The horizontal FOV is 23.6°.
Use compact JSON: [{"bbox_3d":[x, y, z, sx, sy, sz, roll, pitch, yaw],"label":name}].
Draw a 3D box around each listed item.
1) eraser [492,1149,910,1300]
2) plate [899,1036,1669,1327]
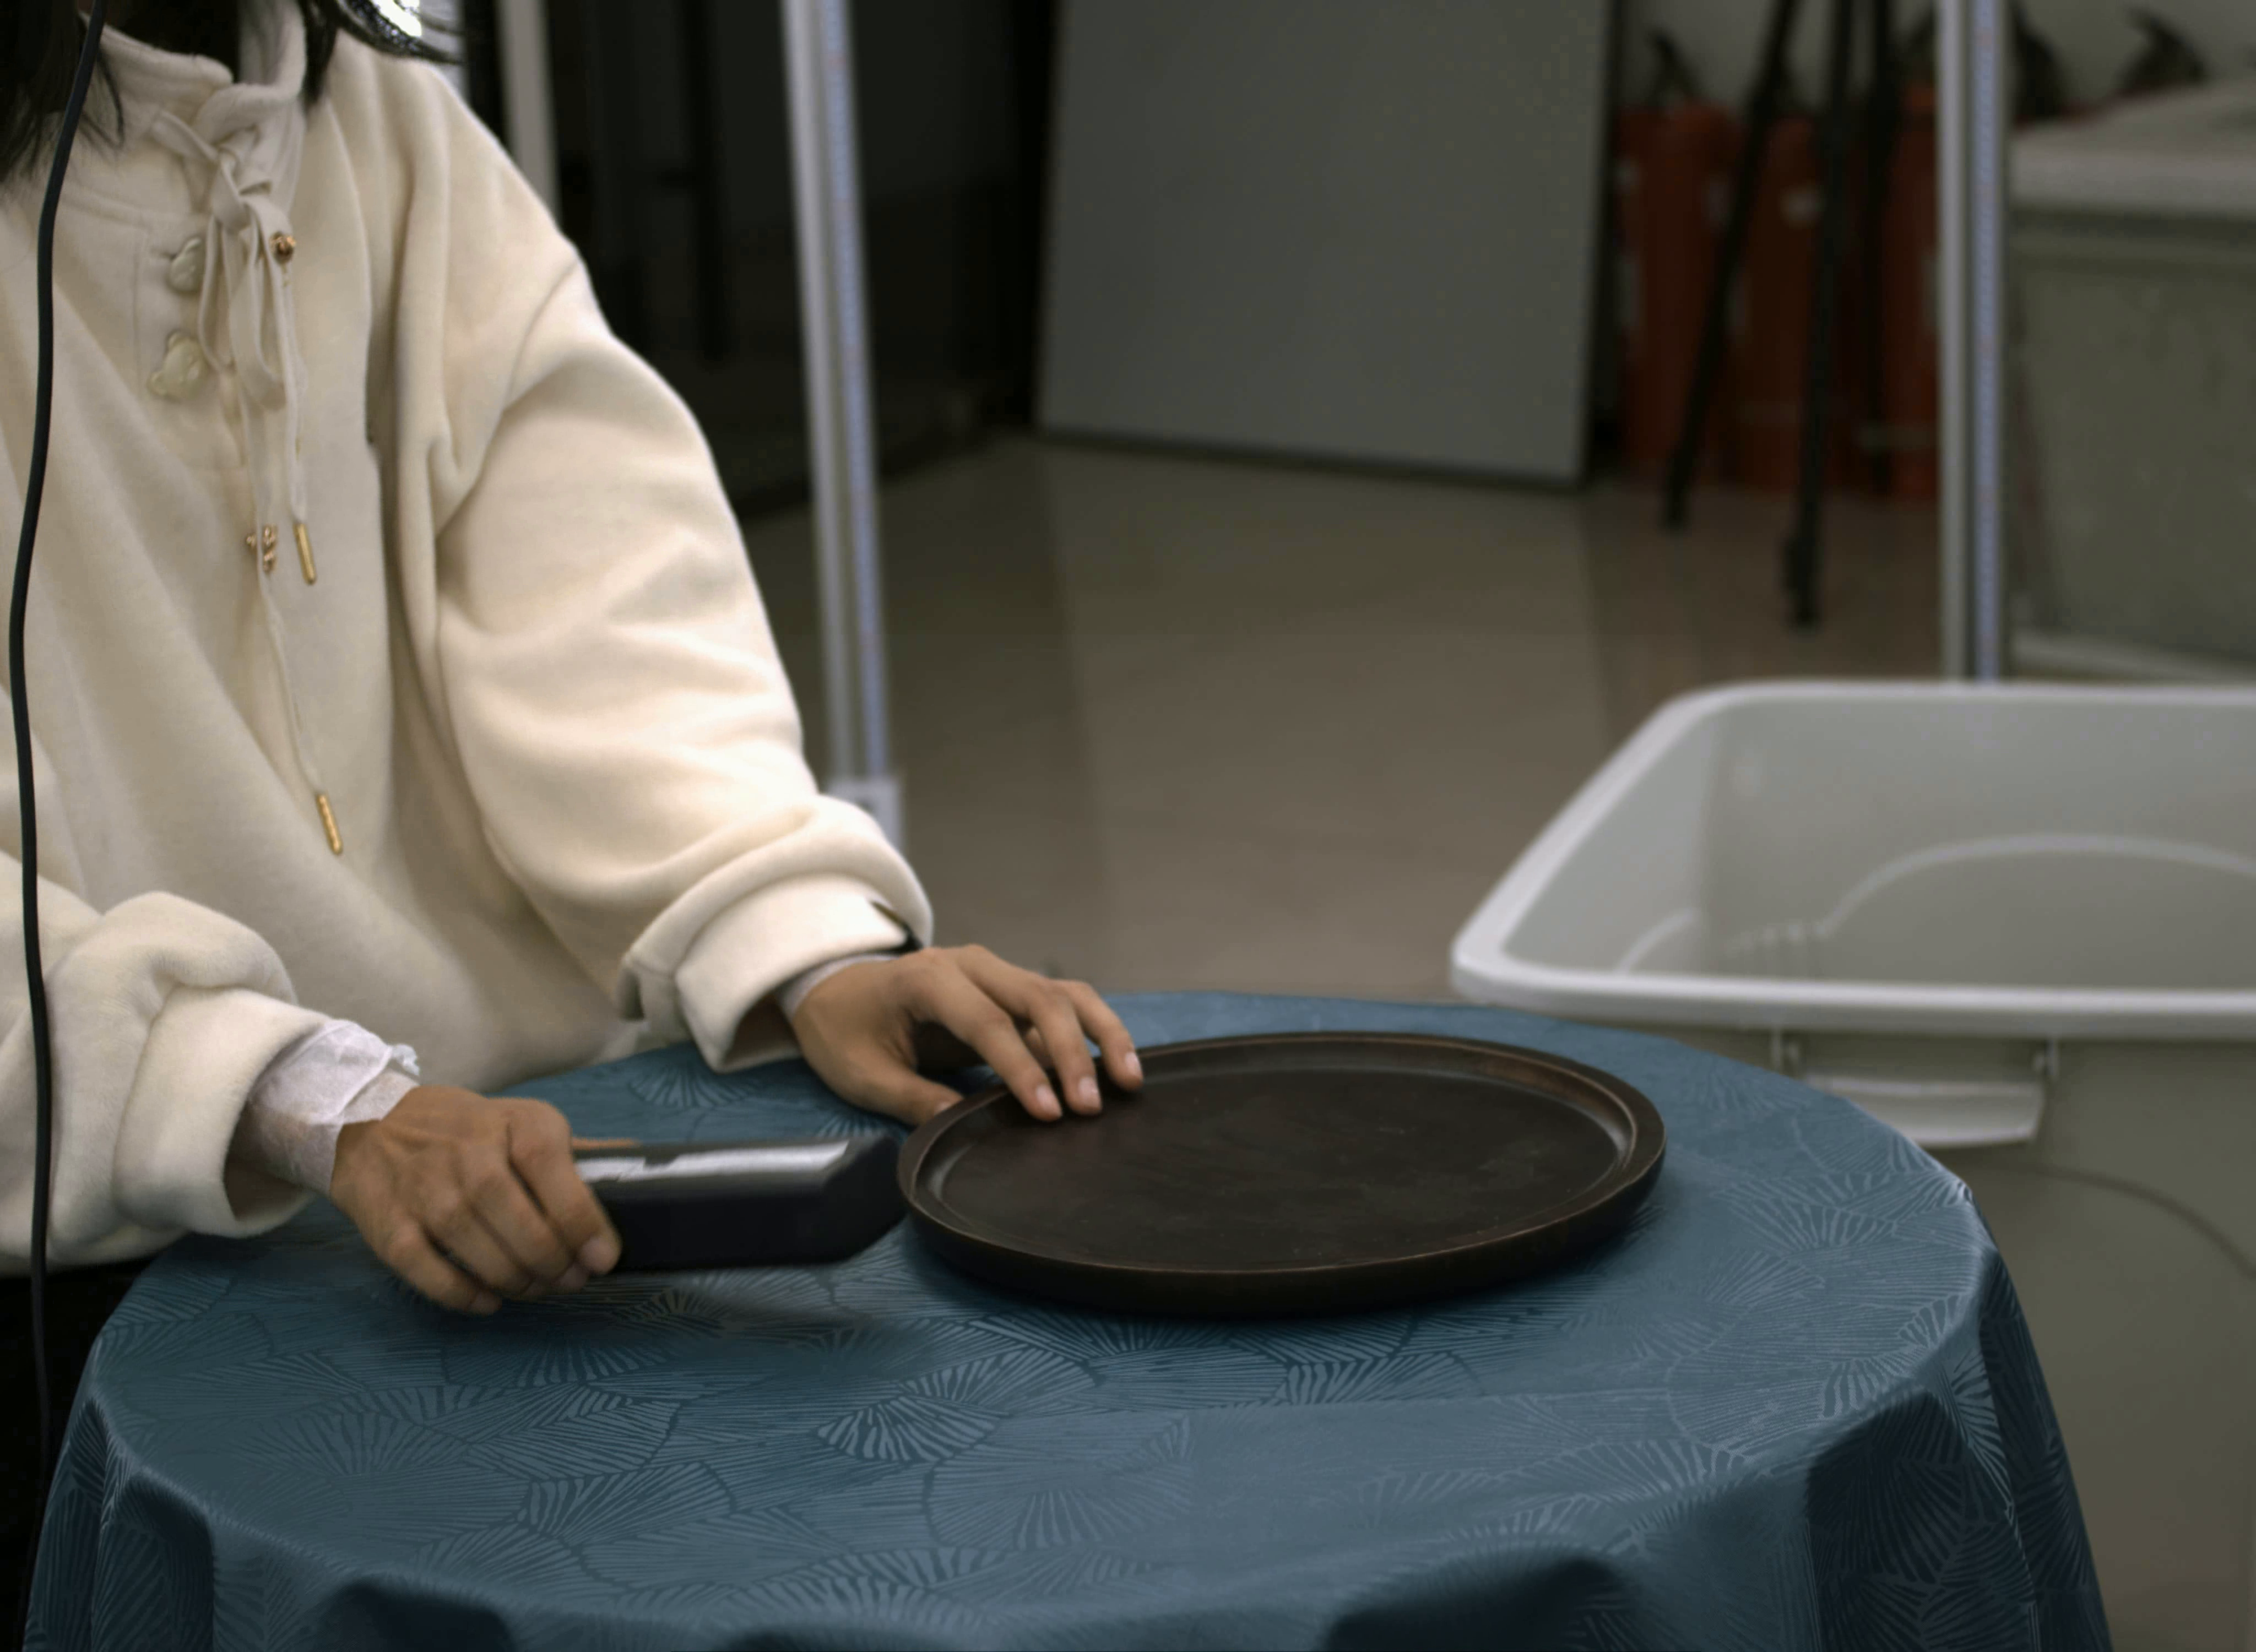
[{"bbox_3d":[-0.130,0.123,1.668,0.126,0.031,0.053,-6,11,30],"label":"eraser"},{"bbox_3d":[0.050,0.112,1.742,0.251,0.029,0.255,-3,15,0],"label":"plate"}]
